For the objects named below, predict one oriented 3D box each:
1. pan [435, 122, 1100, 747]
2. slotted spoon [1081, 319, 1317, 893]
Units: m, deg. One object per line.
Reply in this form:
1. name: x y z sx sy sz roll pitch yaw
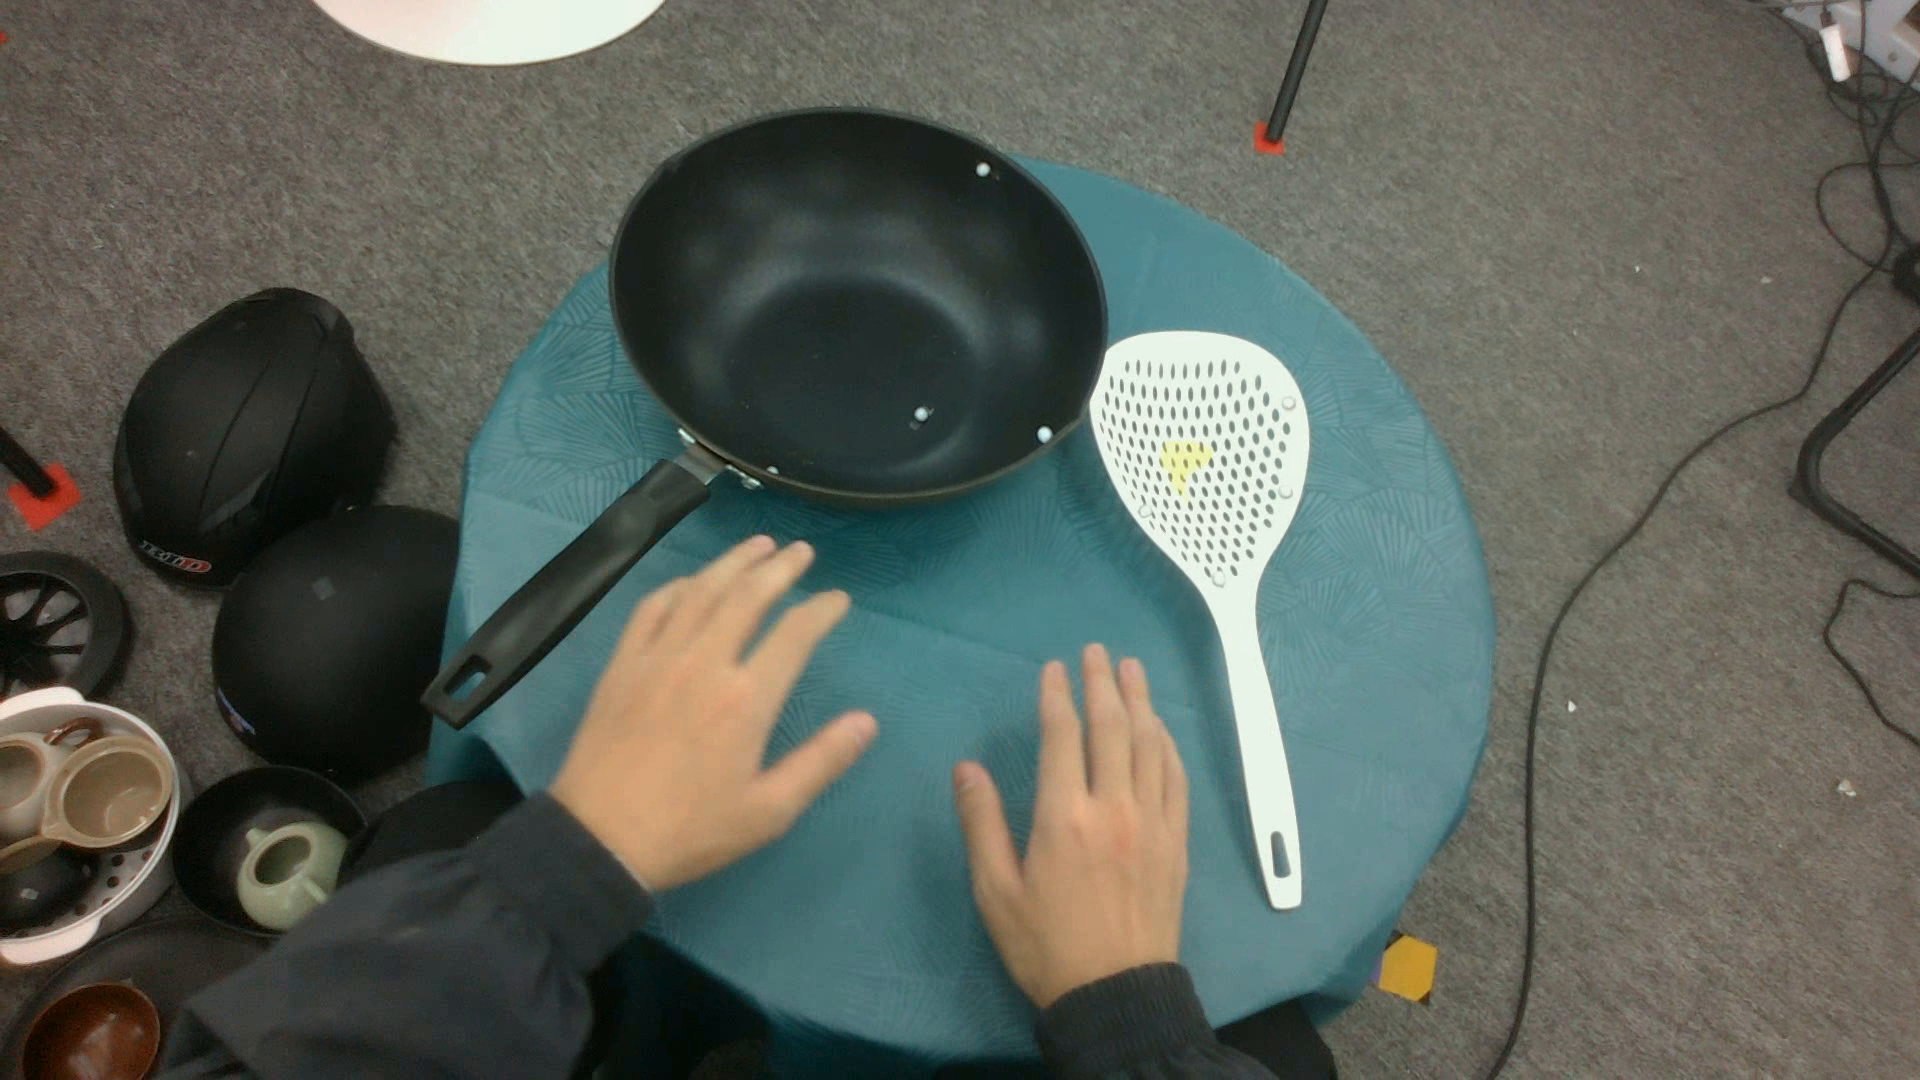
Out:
1. pan: -0.110 -0.054 0.776 0.288 0.086 0.465 30 62 11
2. slotted spoon: 0.153 0.024 0.789 0.137 0.050 0.349 -3 60 -11
